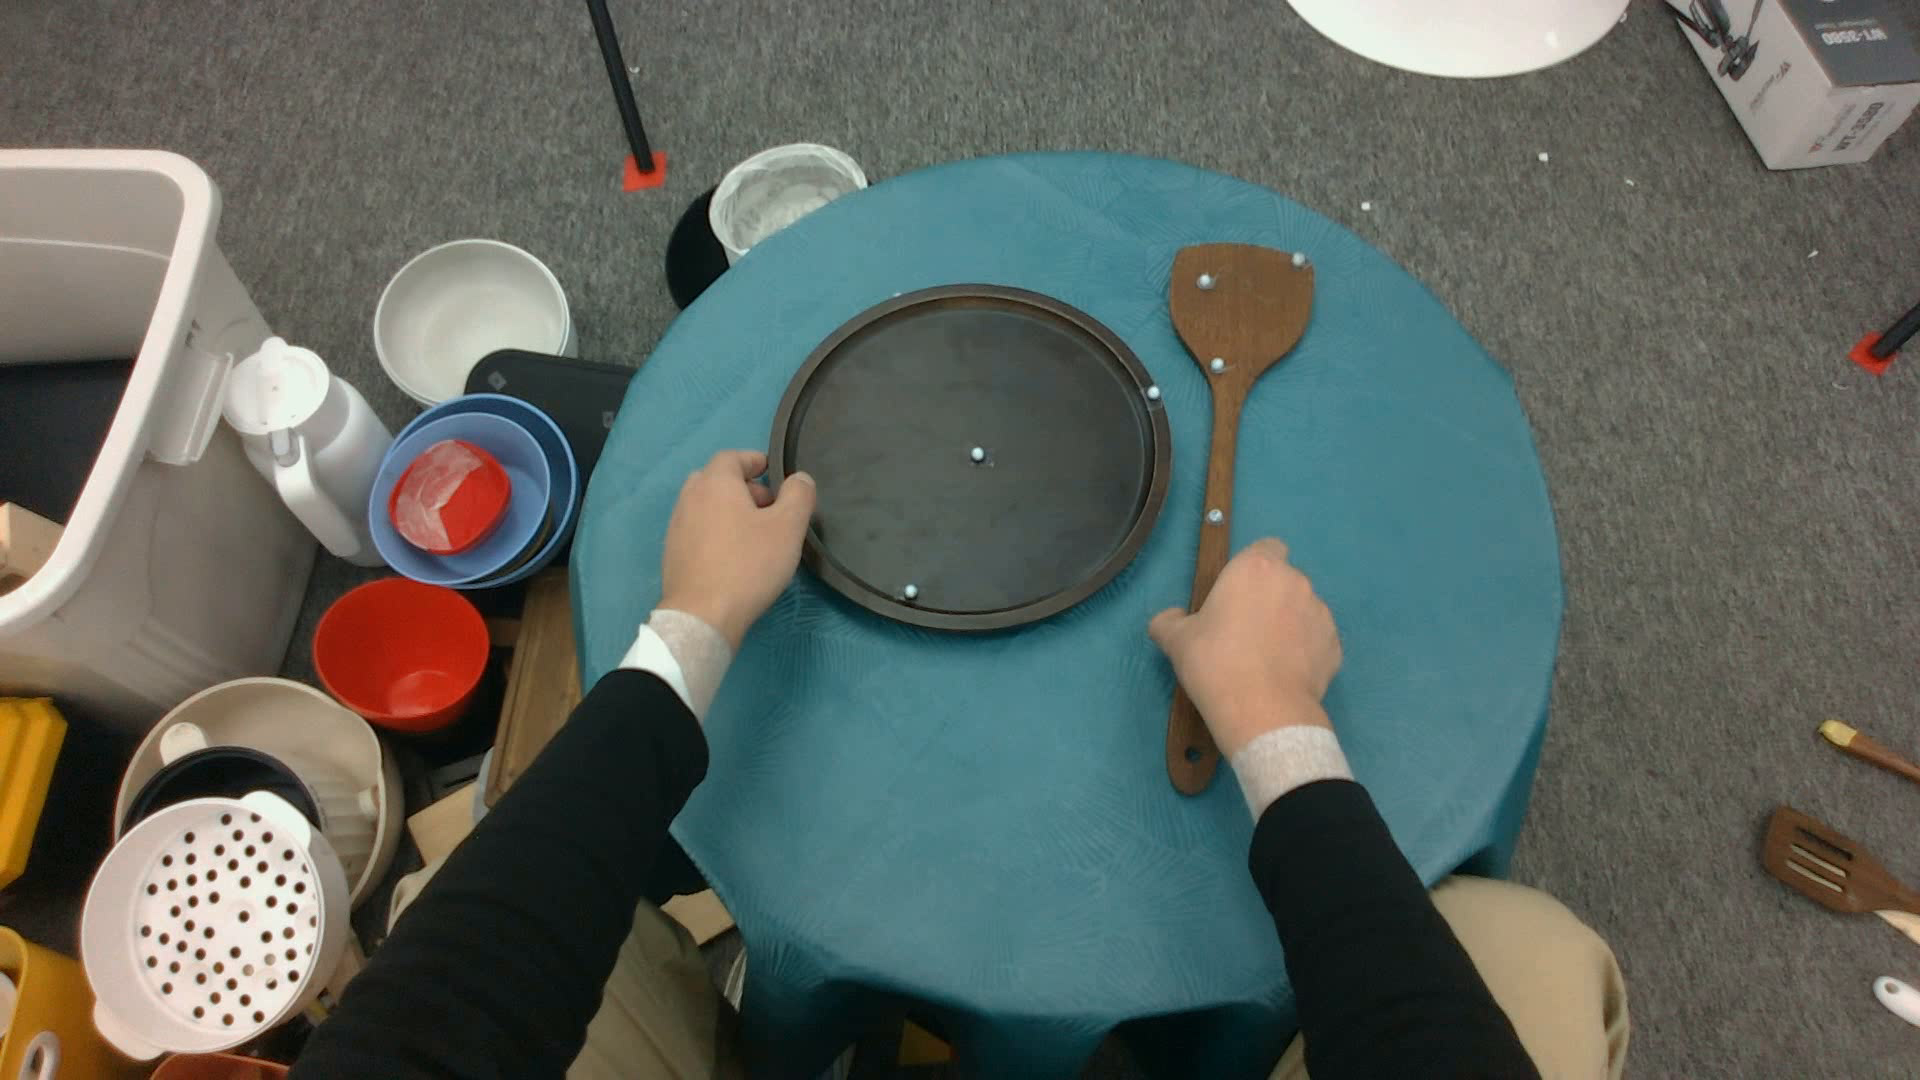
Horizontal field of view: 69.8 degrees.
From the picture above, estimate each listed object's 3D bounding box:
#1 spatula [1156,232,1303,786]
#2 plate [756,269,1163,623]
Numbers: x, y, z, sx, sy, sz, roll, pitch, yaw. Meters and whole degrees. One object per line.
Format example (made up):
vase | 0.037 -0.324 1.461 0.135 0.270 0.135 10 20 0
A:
spatula | 0.153 -0.036 0.848 0.096 0.016 0.387 8 63 6
plate | -0.001 -0.063 0.861 0.255 0.029 0.256 0 62 0
